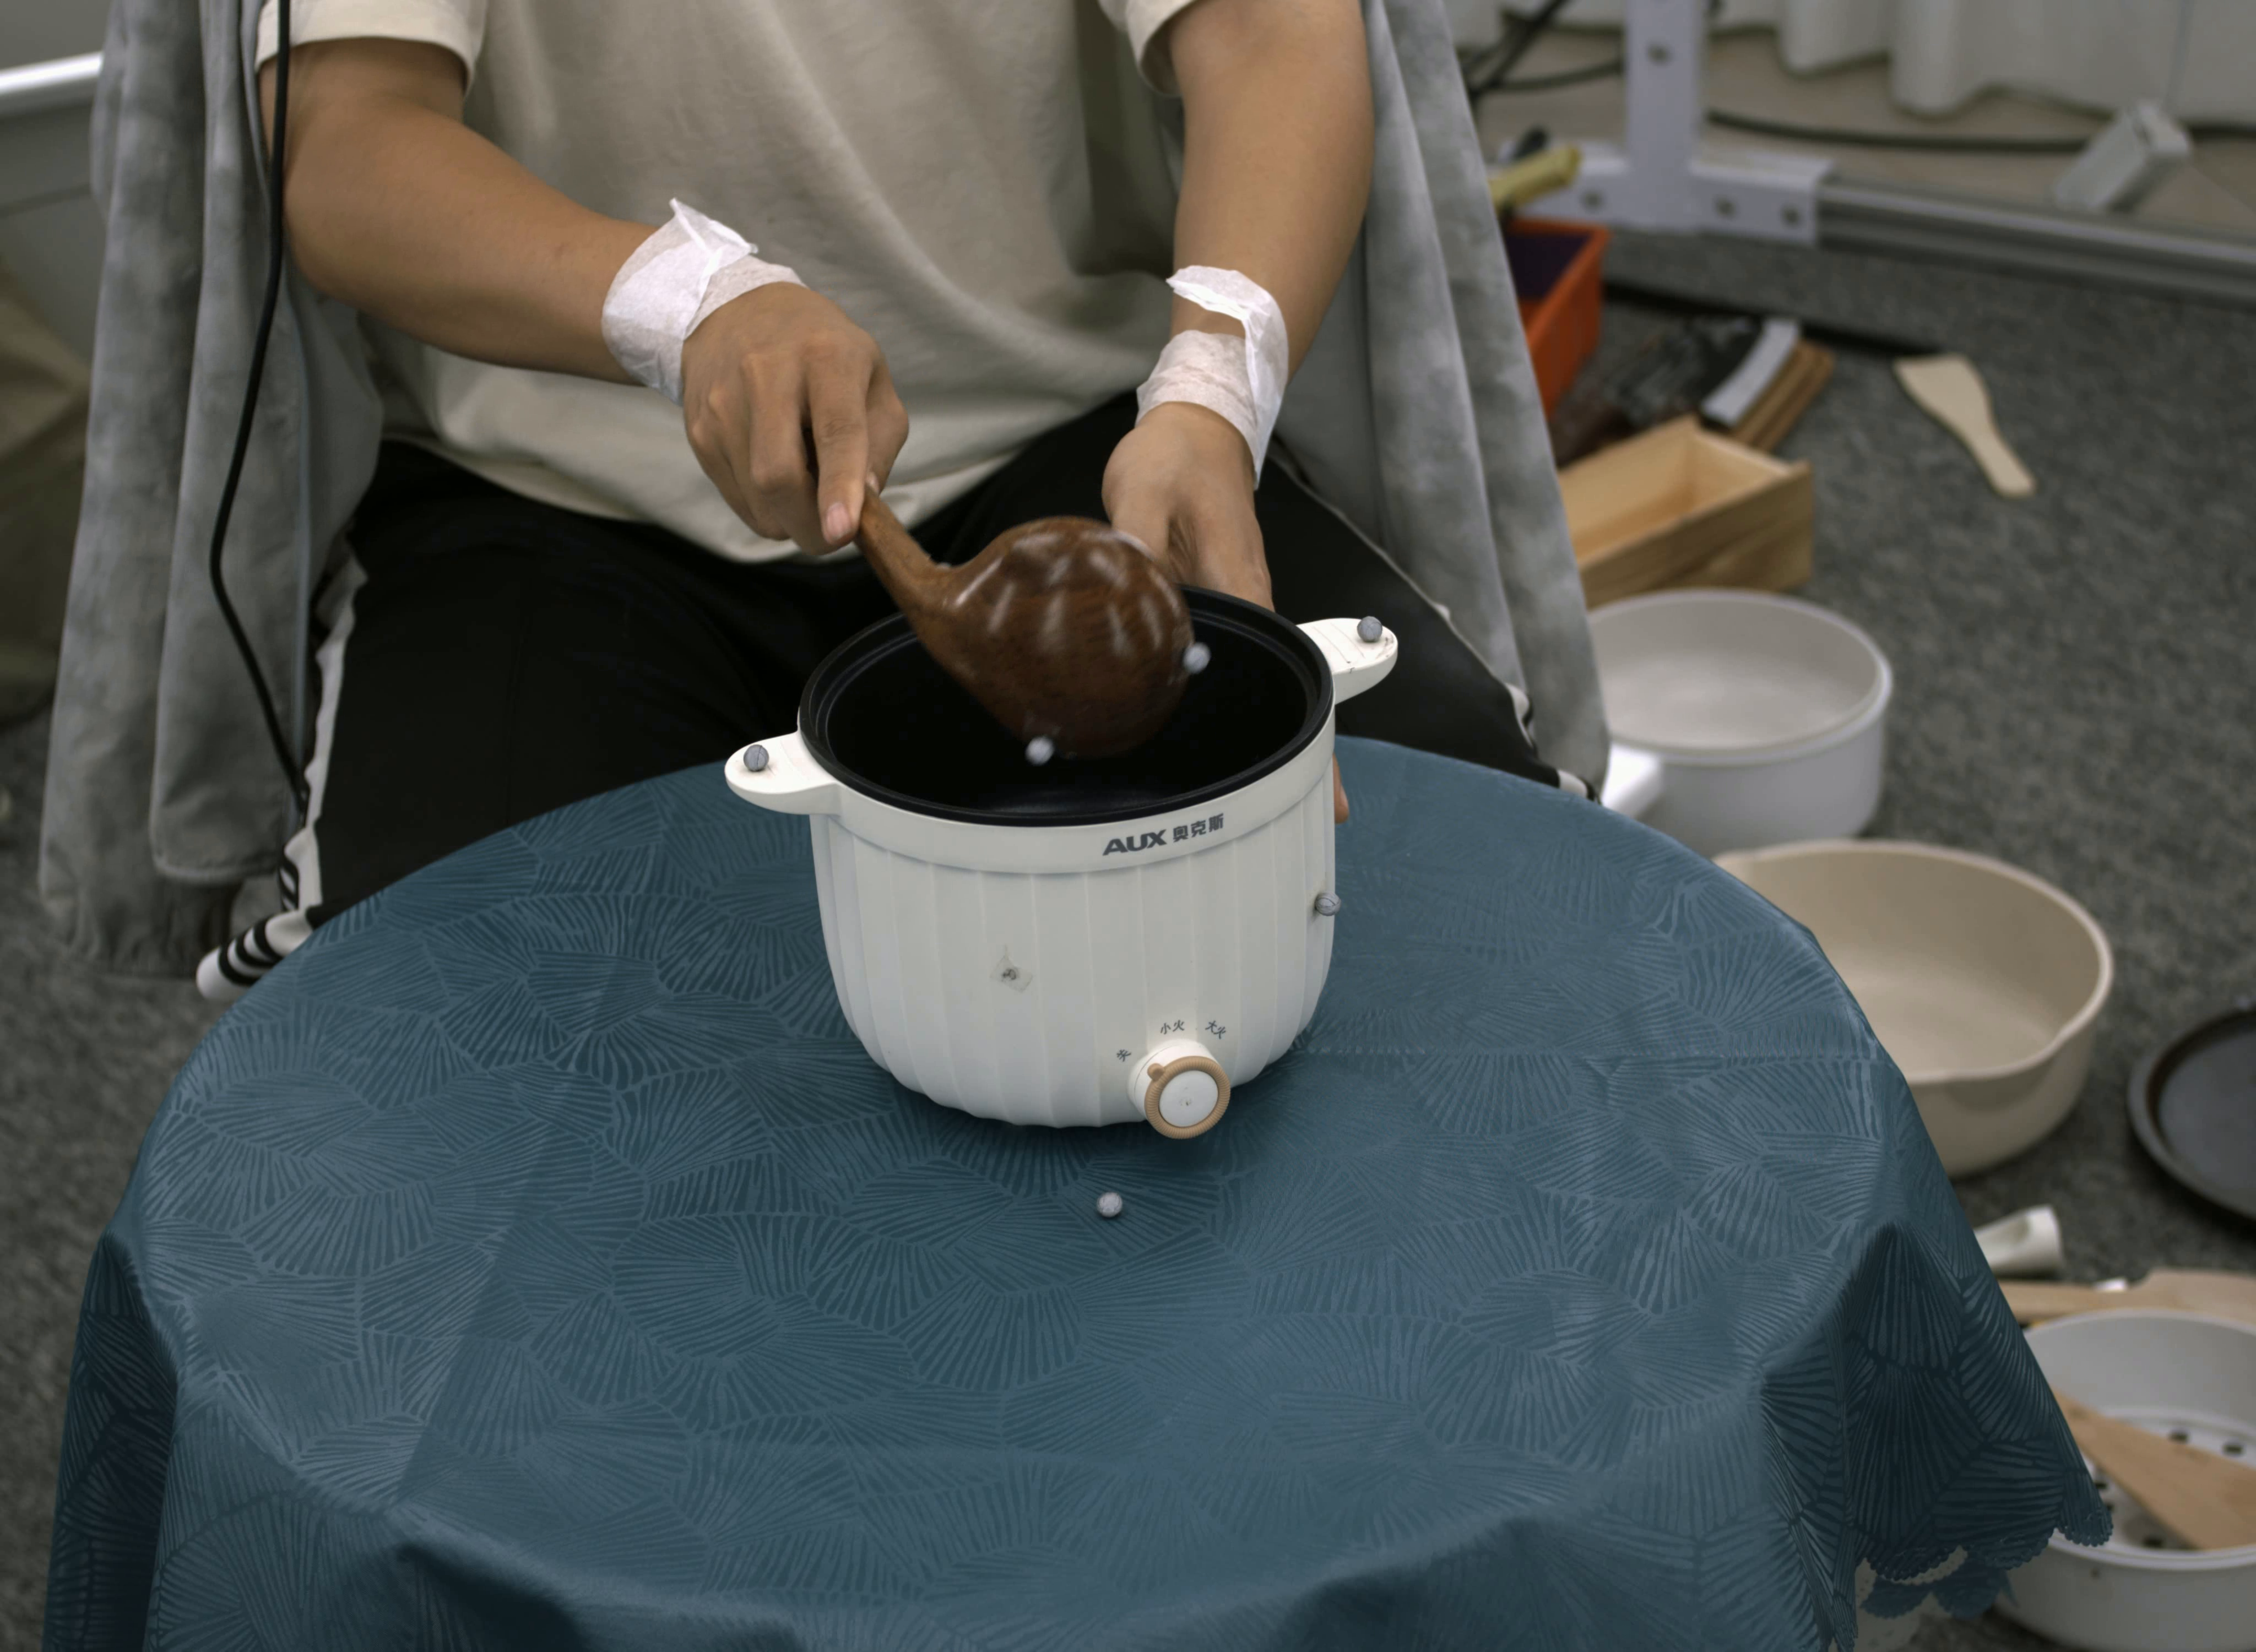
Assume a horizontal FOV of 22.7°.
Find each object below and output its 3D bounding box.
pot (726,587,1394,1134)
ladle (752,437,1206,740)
[{"bbox_3d":[-0.014,0.015,1.918,0.241,0.141,0.191,-14,25,-18],"label":"pot"},{"bbox_3d":[-0.053,-0.098,1.917,0.077,0.081,0.275,-4,18,-20],"label":"ladle"}]
